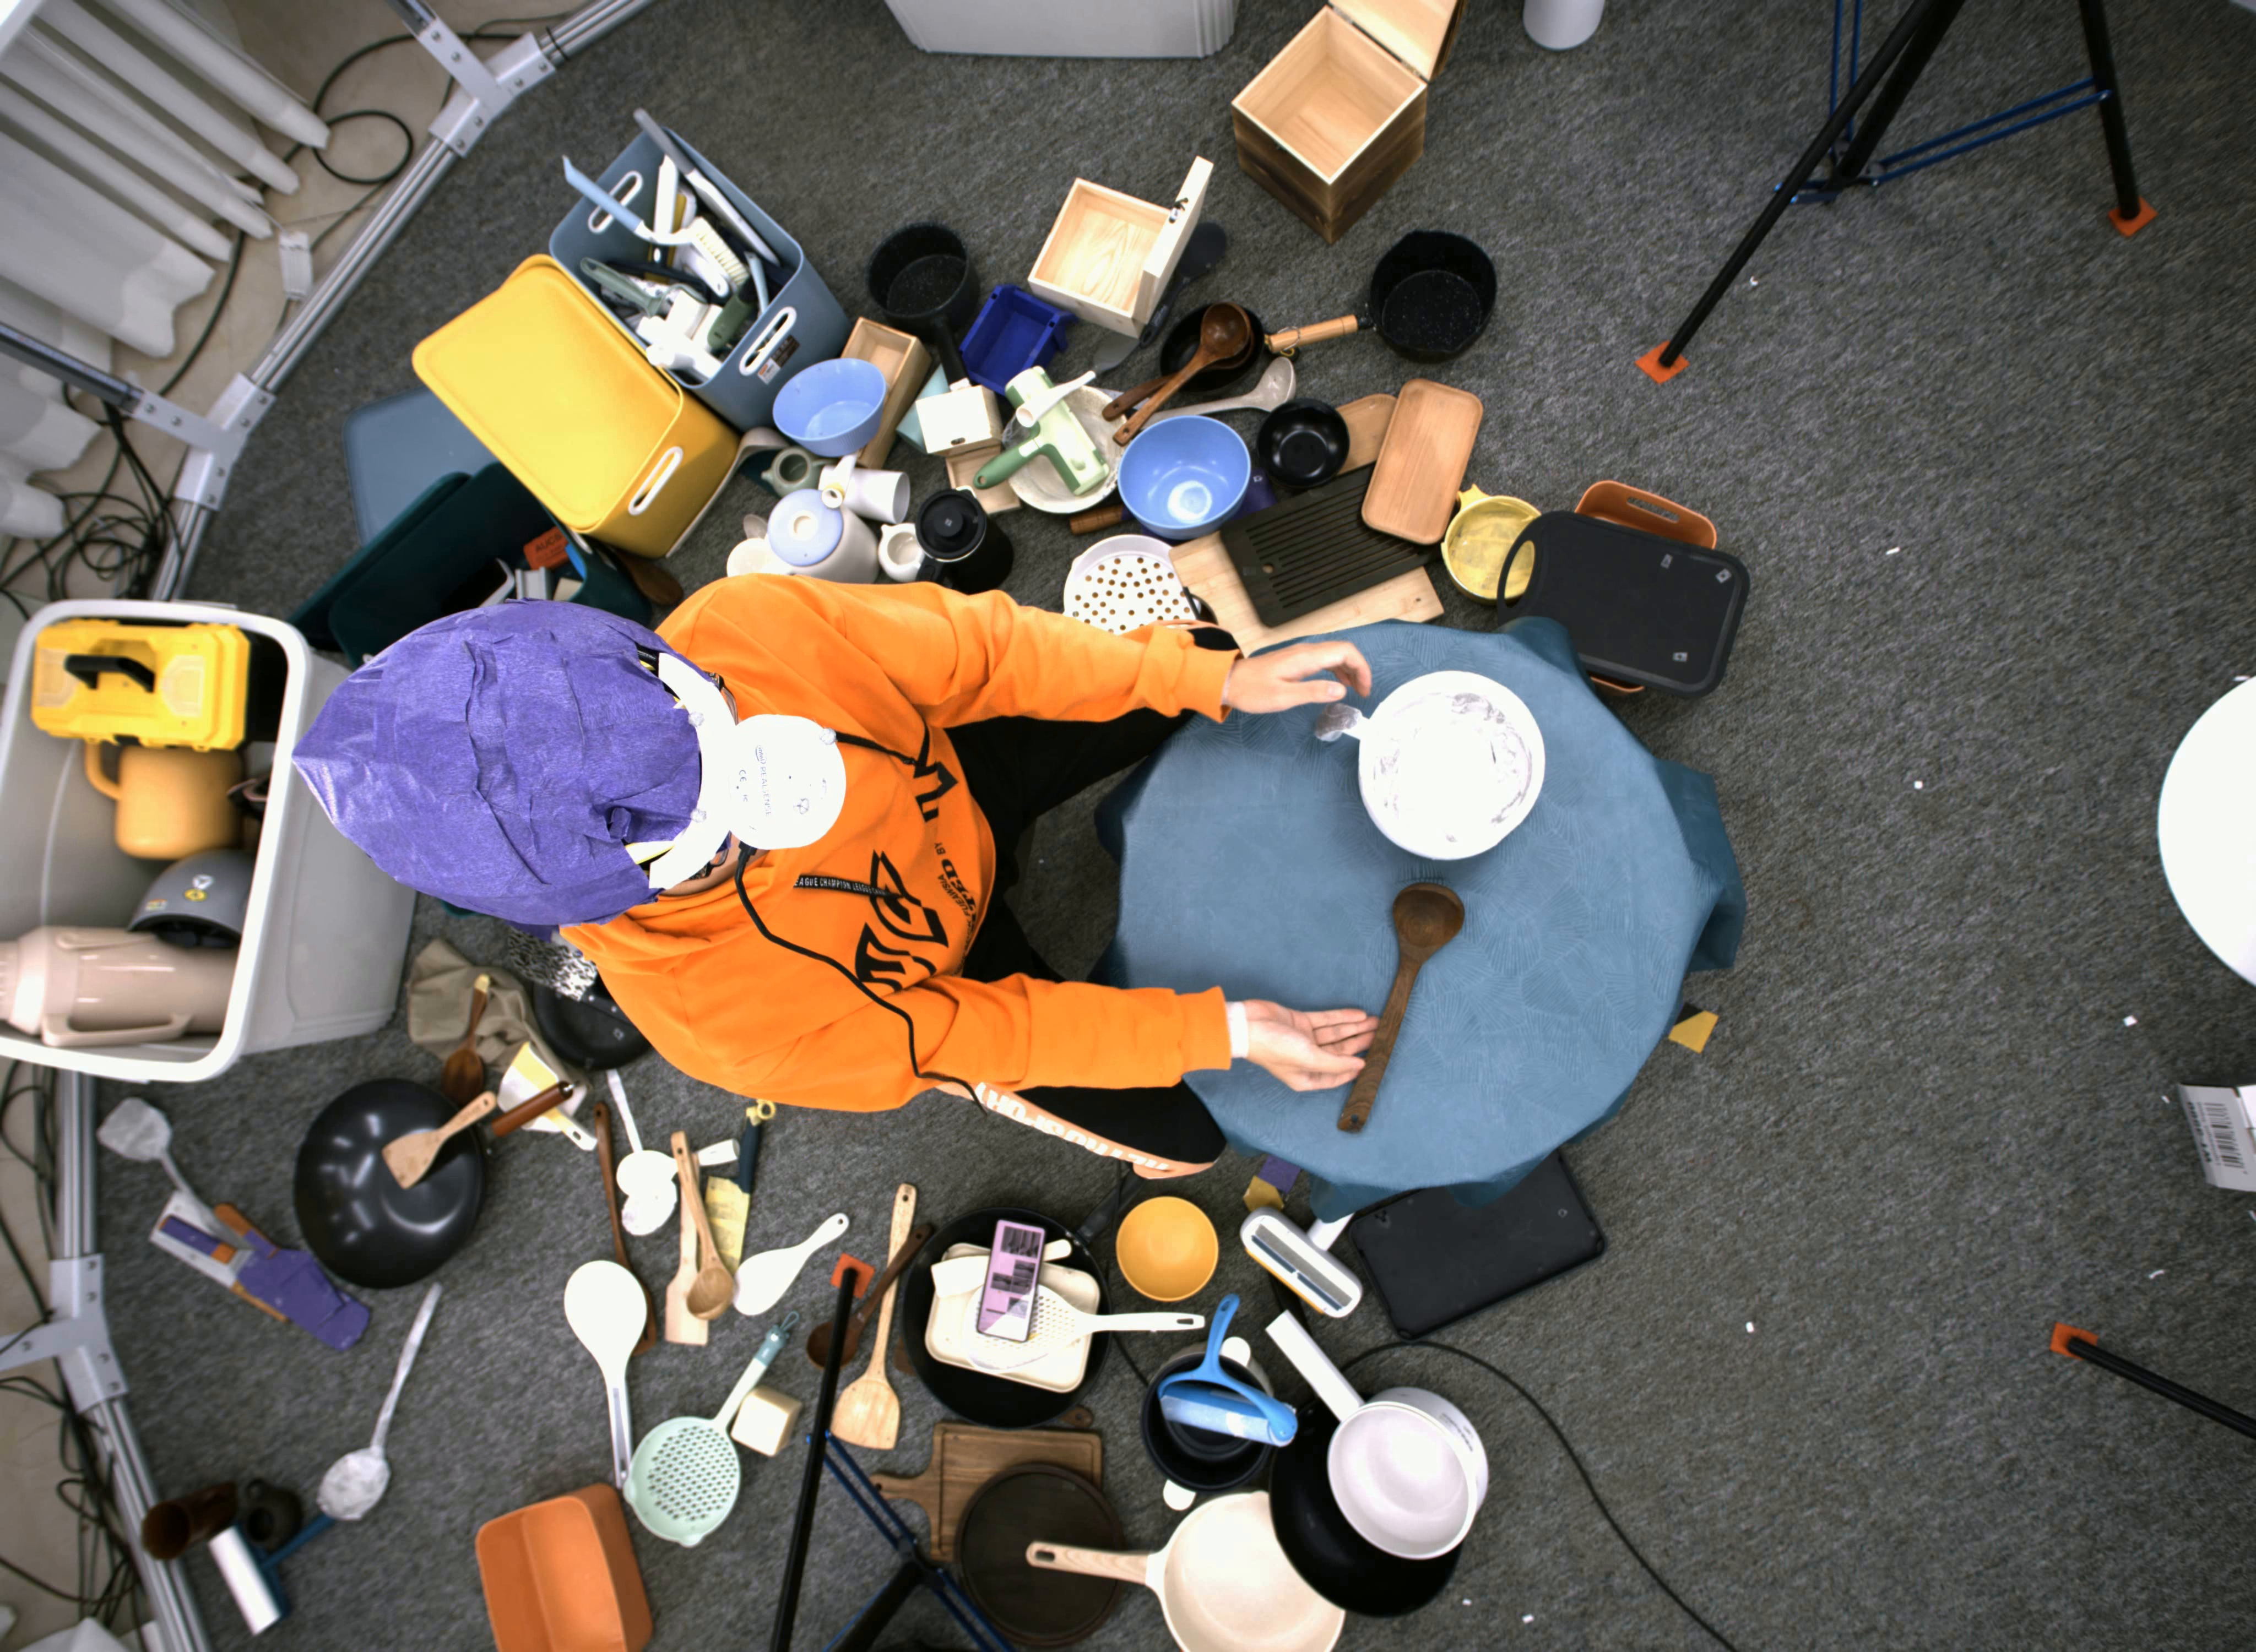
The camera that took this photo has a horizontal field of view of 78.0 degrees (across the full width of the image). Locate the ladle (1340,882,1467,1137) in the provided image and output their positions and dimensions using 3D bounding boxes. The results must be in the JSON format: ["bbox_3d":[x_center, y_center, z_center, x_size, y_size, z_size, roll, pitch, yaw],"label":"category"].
[{"bbox_3d":[0.273,0.189,1.417,0.076,0.071,0.274,20,90,14],"label":"ladle"}]

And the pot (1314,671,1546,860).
[{"bbox_3d":[0.298,-0.069,1.393,0.233,0.137,0.178,23,90,11],"label":"pot"}]
